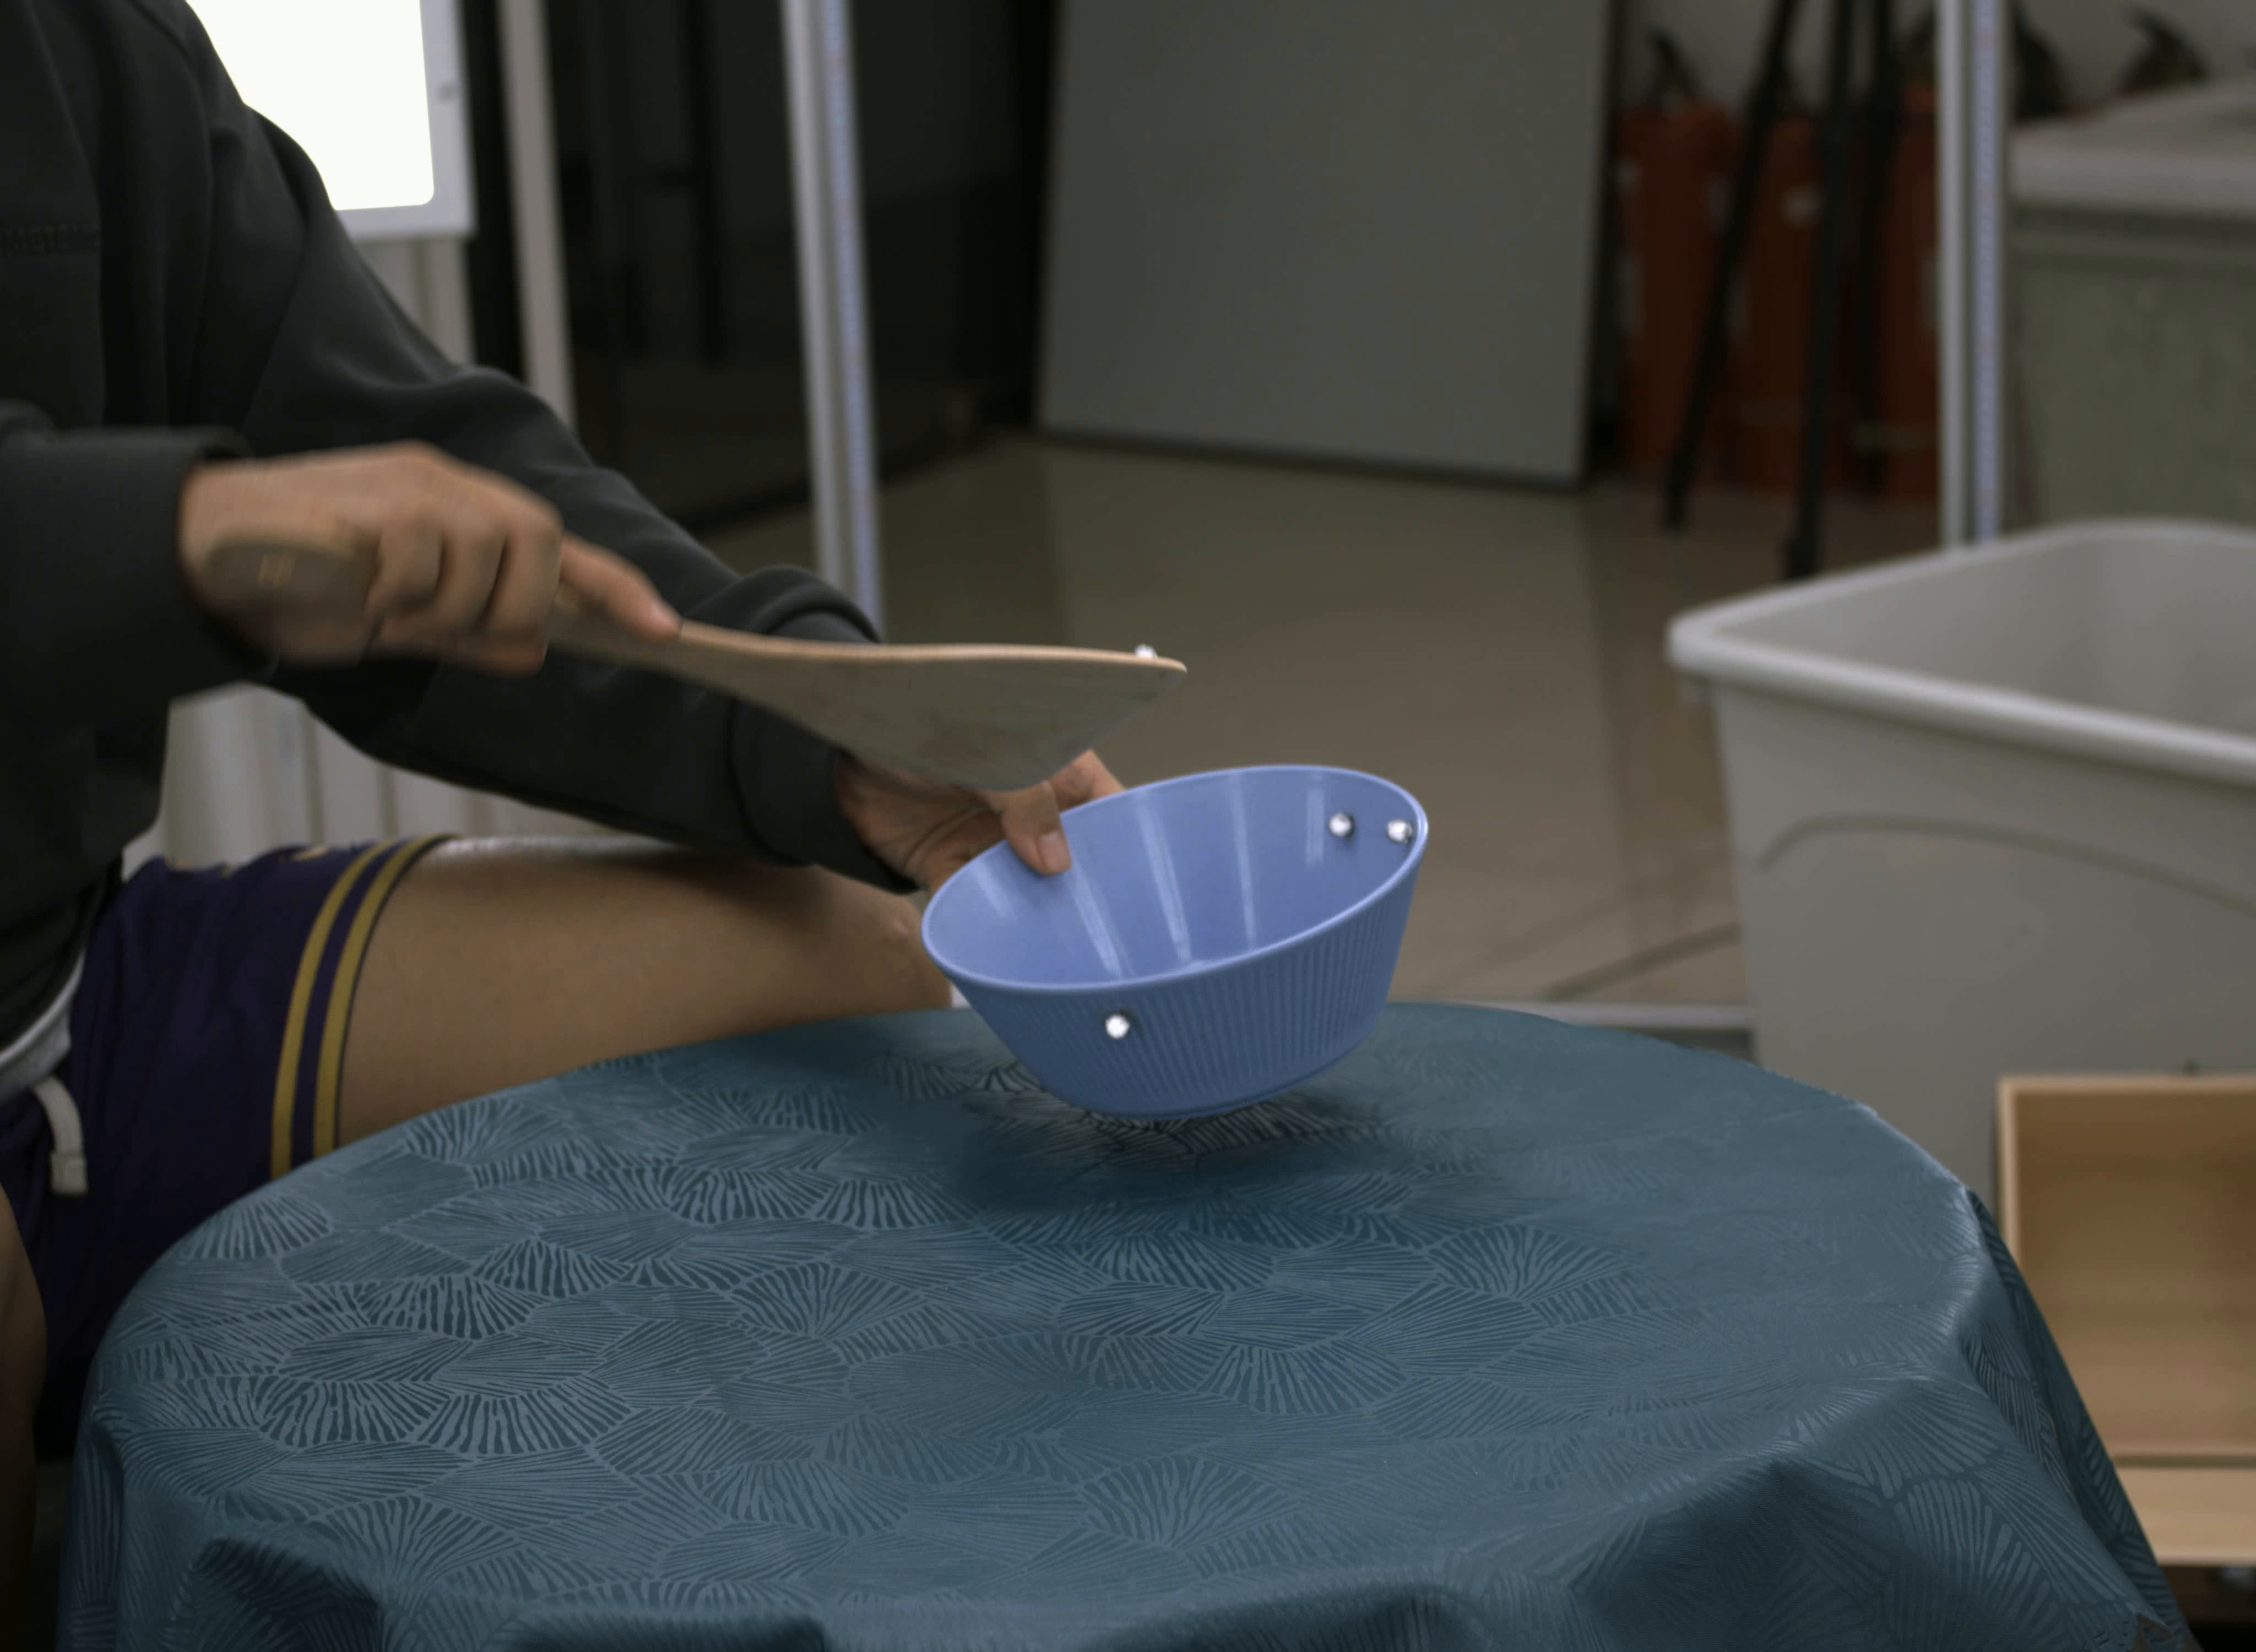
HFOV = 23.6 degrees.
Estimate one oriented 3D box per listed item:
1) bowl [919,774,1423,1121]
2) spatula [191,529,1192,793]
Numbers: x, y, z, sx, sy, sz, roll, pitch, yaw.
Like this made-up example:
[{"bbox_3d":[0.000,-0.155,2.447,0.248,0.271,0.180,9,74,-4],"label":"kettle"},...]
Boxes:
[{"bbox_3d":[0.020,0.046,1.822,0.174,0.071,0.176,-13,19,4],"label":"bowl"},{"bbox_3d":[-0.130,-0.053,1.615,0.320,0.017,0.081,11,-38,-32],"label":"spatula"}]
